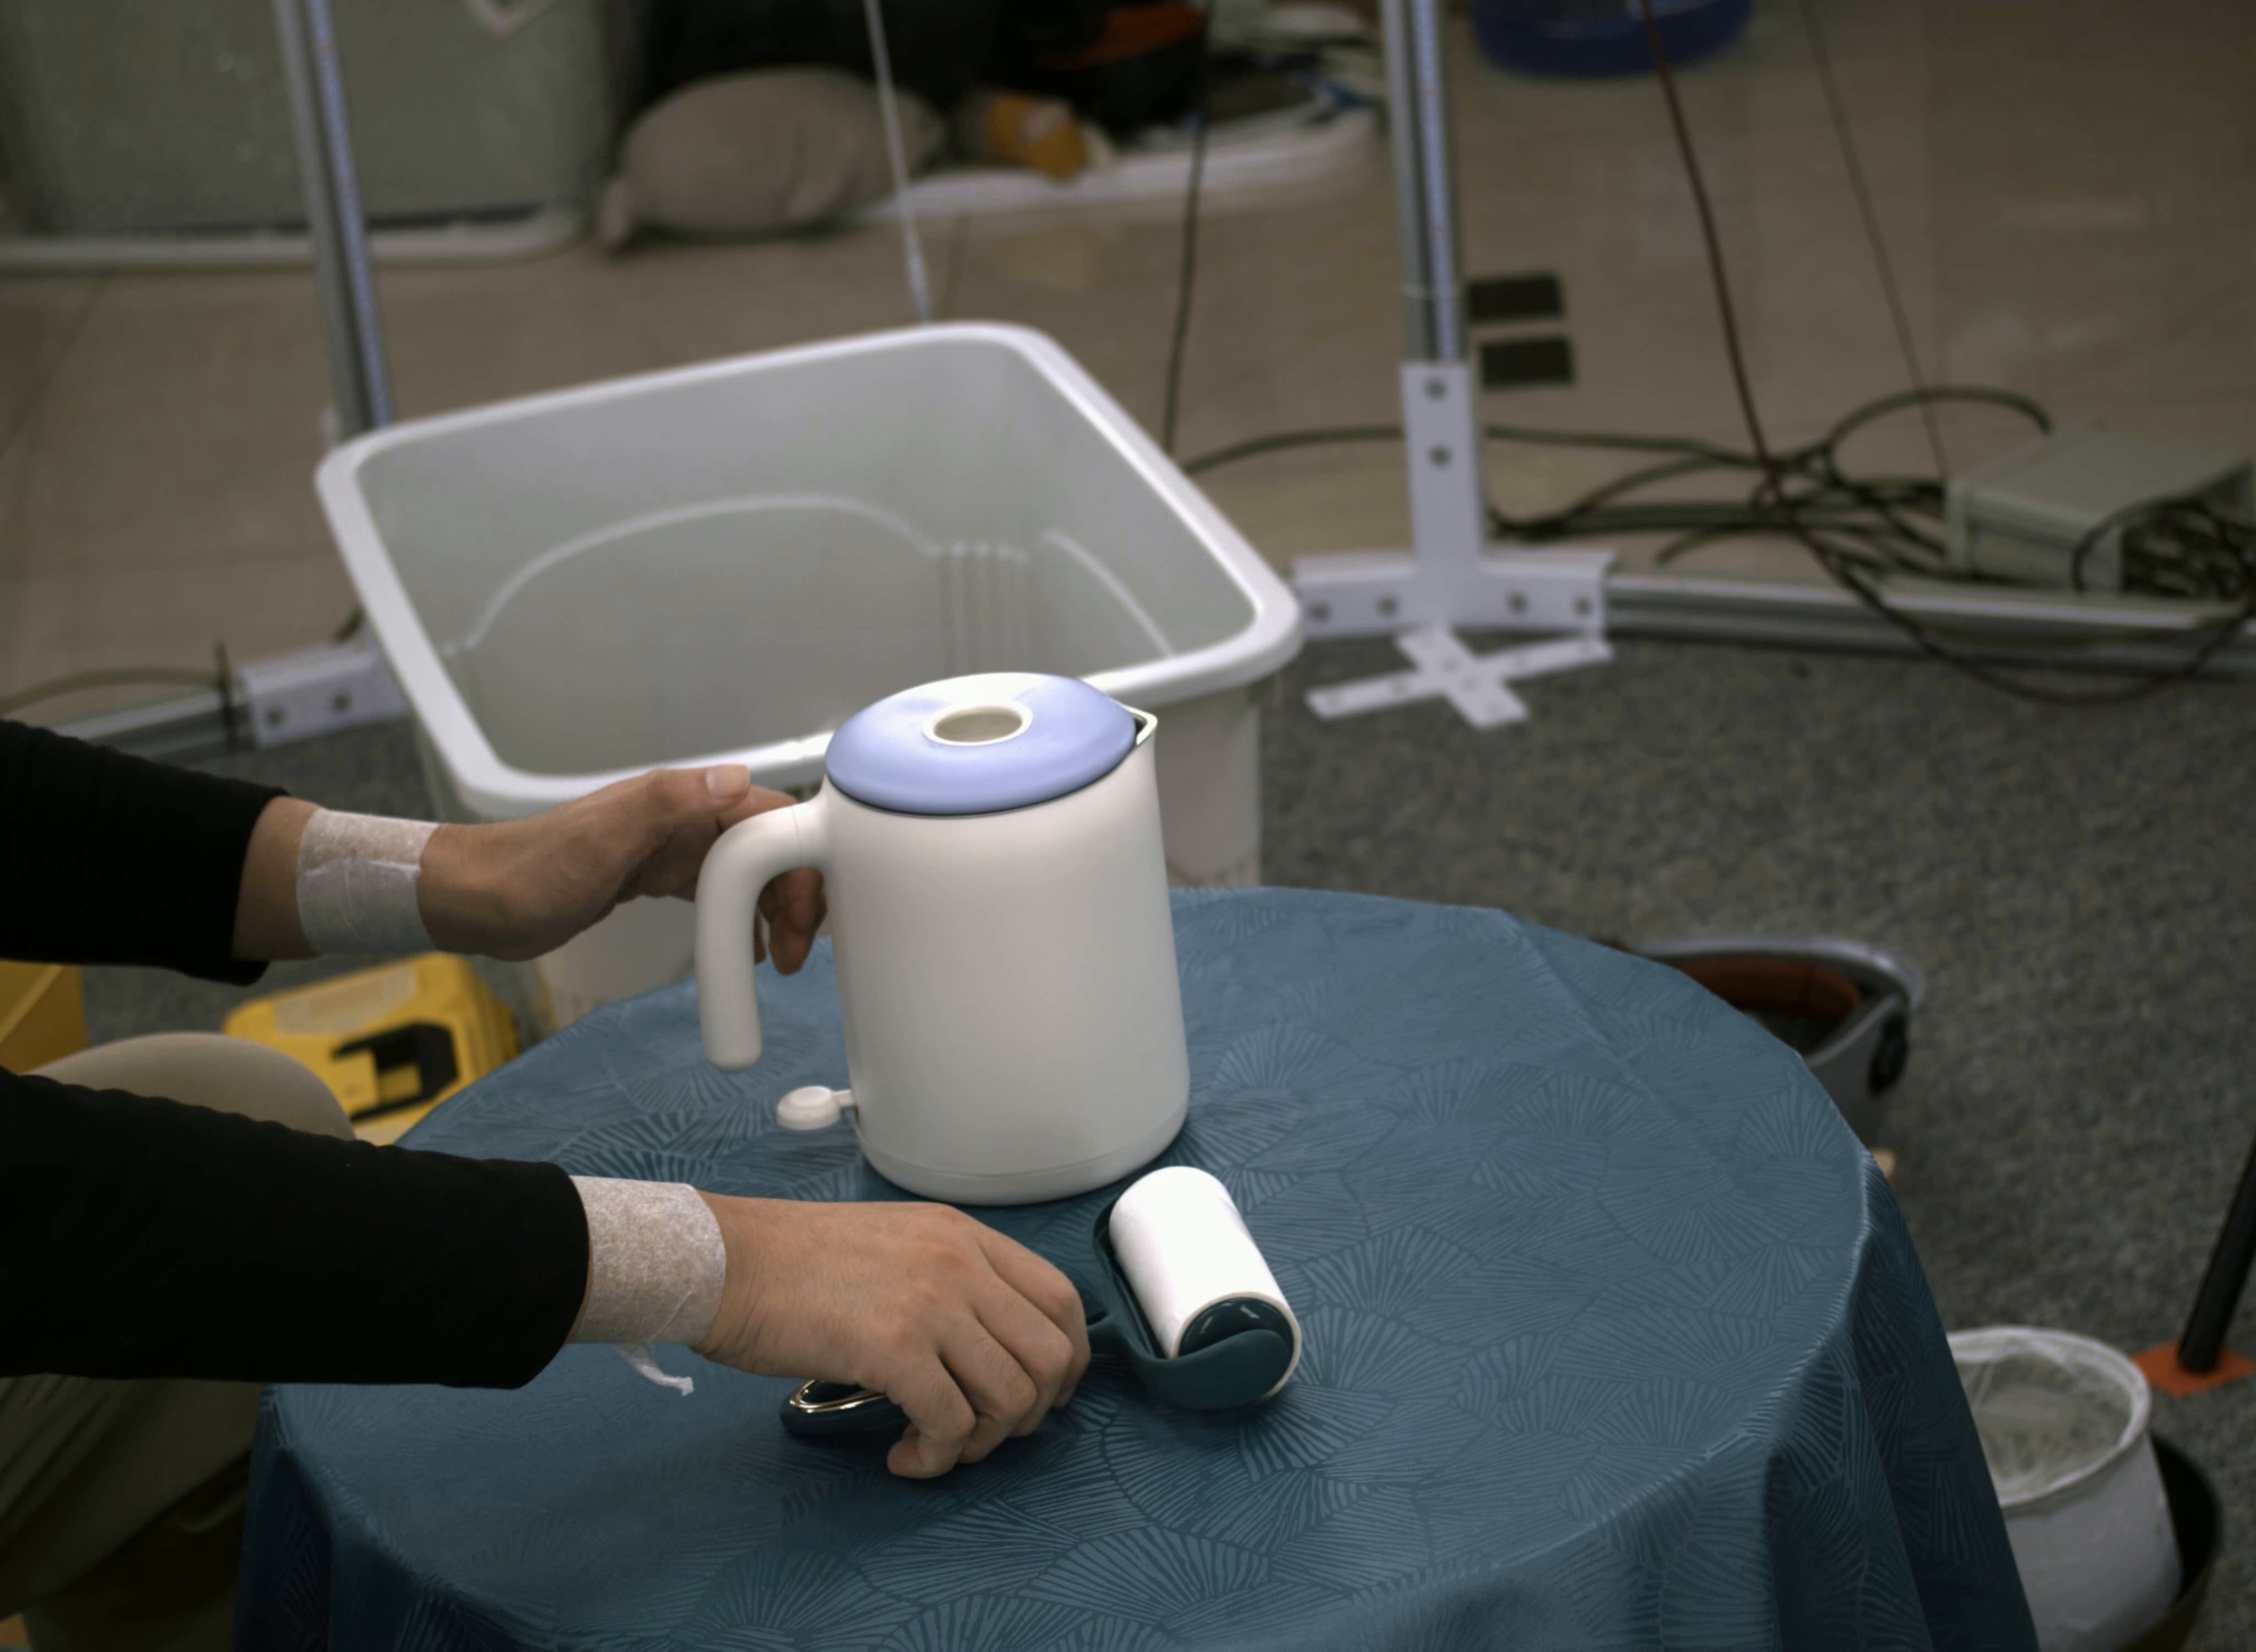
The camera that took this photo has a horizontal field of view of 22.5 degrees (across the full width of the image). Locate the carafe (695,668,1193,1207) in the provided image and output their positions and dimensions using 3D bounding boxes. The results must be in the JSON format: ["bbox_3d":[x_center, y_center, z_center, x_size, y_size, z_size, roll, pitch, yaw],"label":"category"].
[{"bbox_3d":[-0.071,0.047,2.157,0.190,0.185,0.130,-13,26,-8],"label":"carafe"}]

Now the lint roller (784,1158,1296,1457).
[{"bbox_3d":[-0.039,0.180,2.020,0.179,0.049,0.132,-13,26,-8],"label":"lint roller"}]
